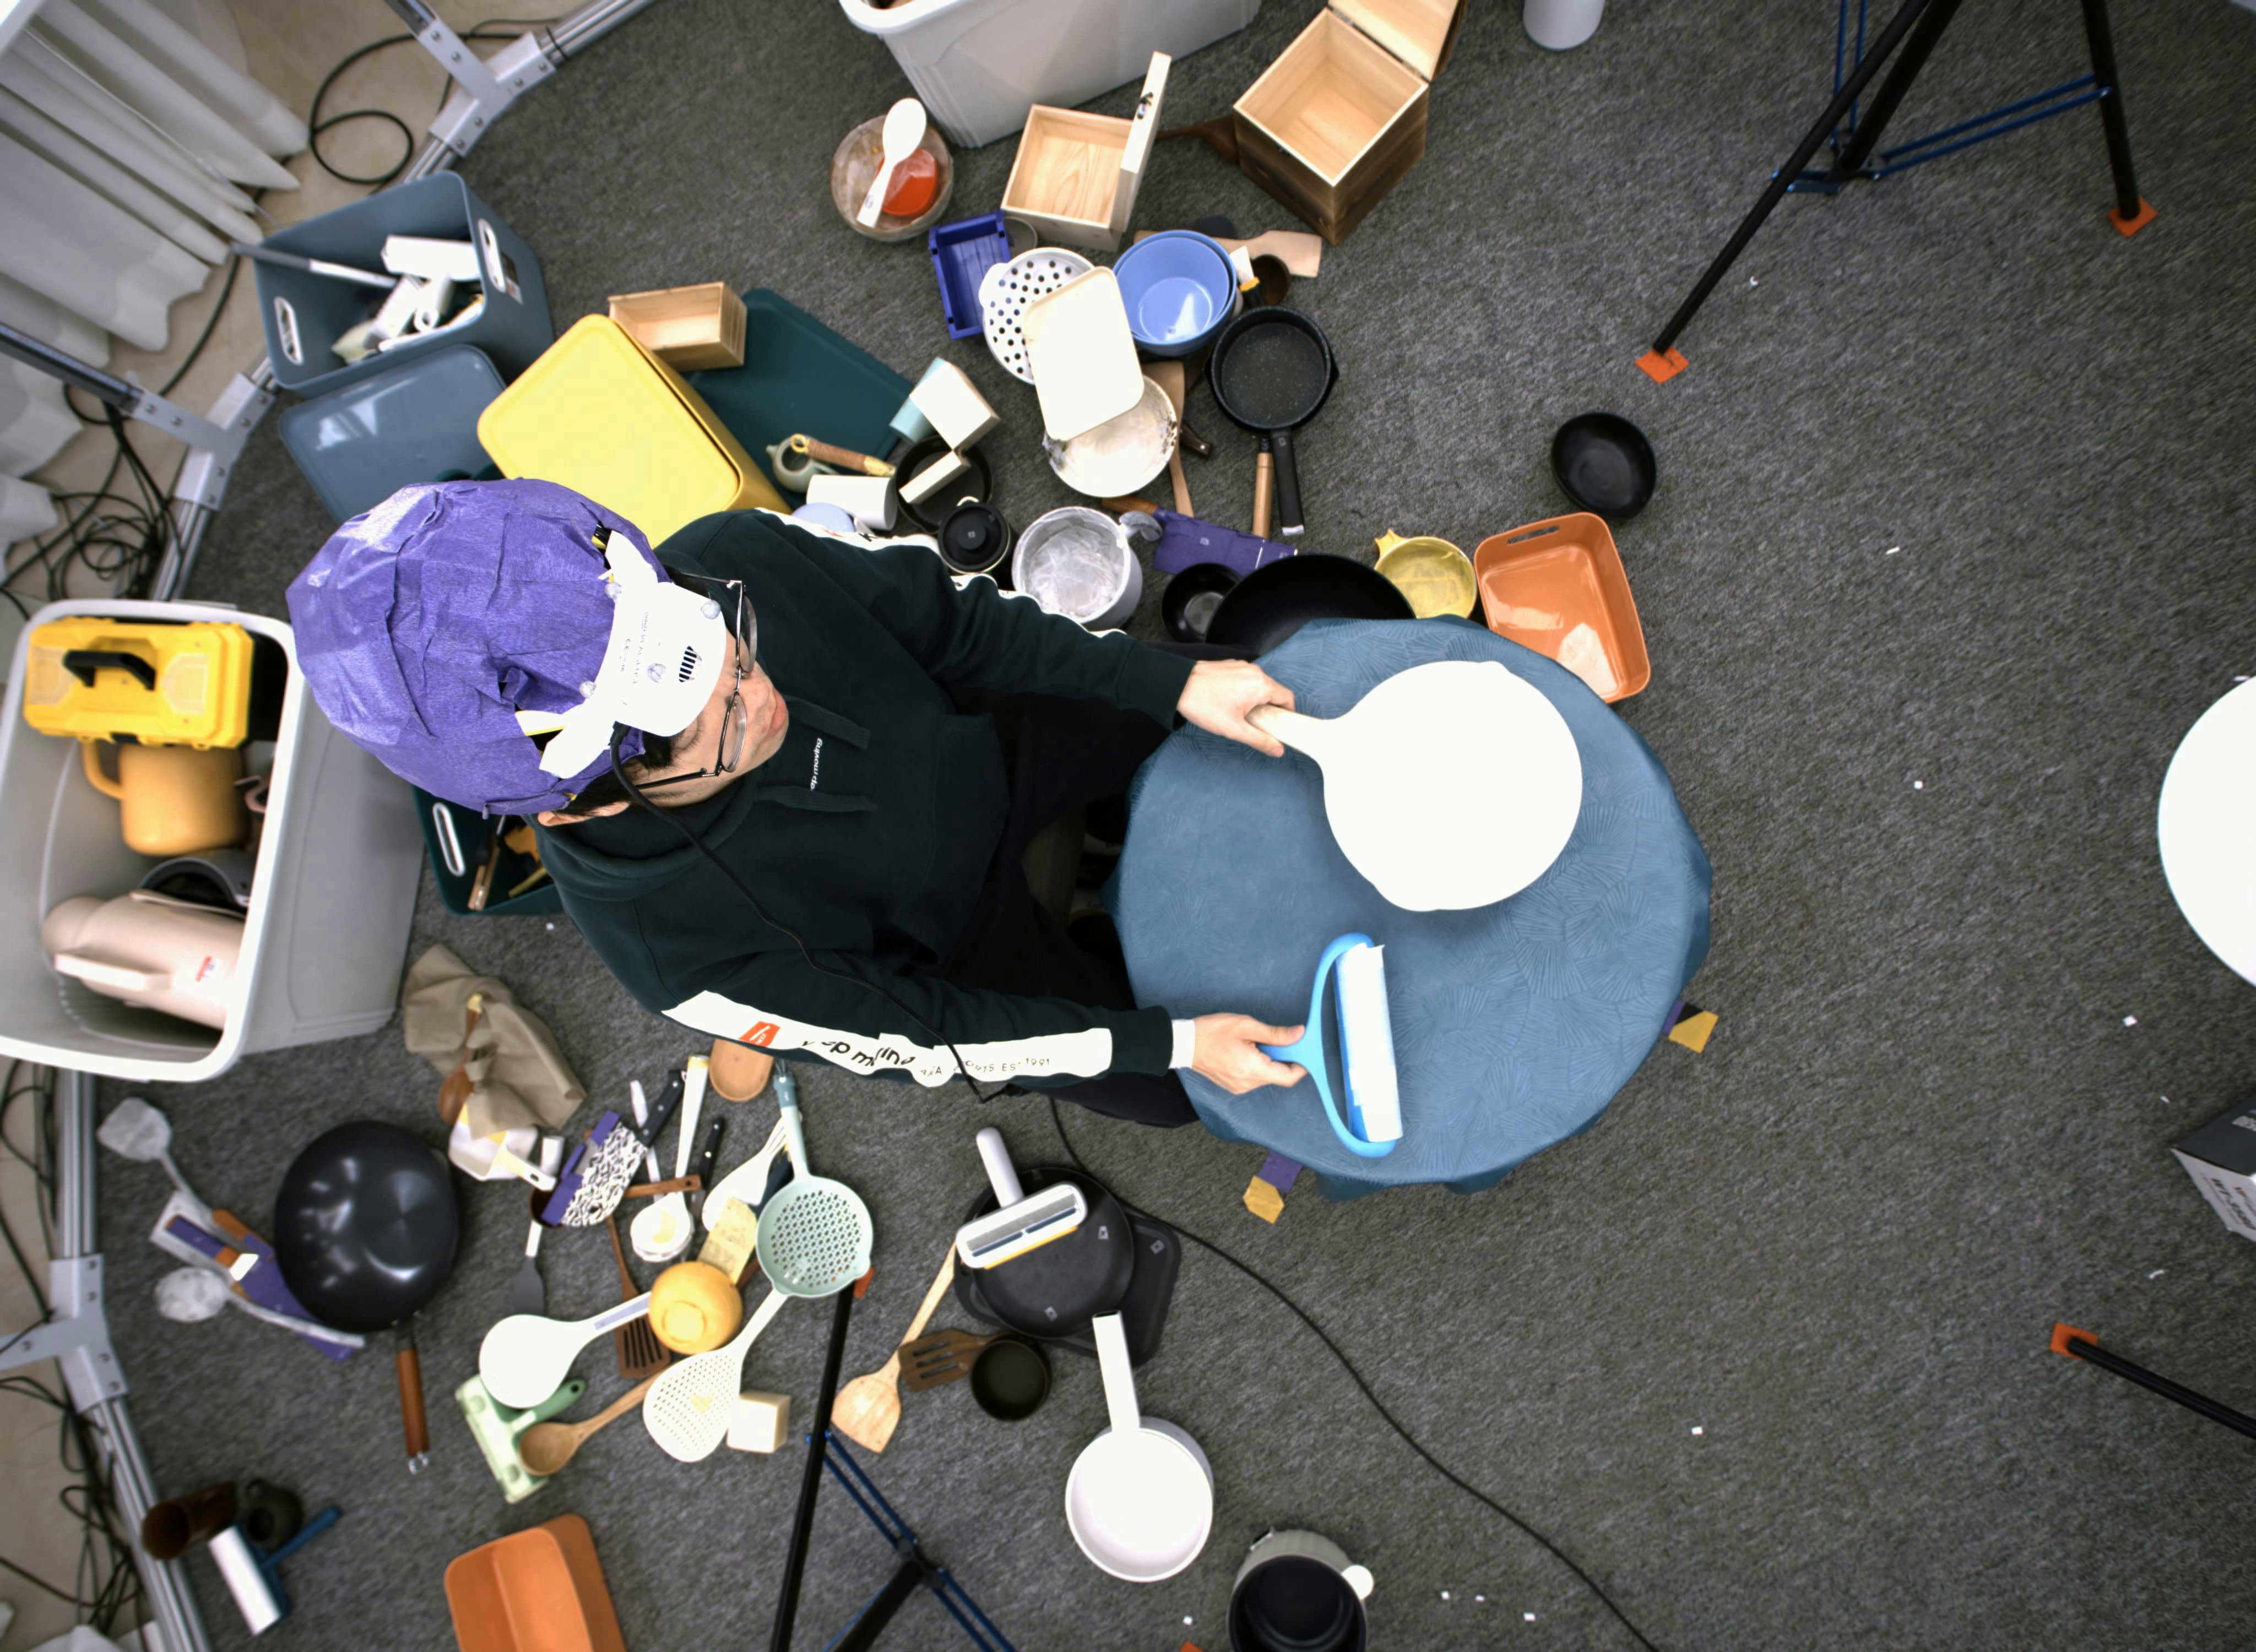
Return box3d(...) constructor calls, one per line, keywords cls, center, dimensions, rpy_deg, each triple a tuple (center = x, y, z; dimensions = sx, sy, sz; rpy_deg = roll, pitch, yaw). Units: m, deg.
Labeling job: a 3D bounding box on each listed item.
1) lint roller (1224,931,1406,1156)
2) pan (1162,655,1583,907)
box3d(cls="lint roller", center=(0.187, 0.229, 1.421), dimensions=(0.181, 0.068, 0.228), rpy_deg=(-9, 87, 8))
box3d(cls="pan", center=(0.246, -0.072, 1.417), dimensions=(0.434, 0.102, 0.263), rpy_deg=(20, 90, 19))
